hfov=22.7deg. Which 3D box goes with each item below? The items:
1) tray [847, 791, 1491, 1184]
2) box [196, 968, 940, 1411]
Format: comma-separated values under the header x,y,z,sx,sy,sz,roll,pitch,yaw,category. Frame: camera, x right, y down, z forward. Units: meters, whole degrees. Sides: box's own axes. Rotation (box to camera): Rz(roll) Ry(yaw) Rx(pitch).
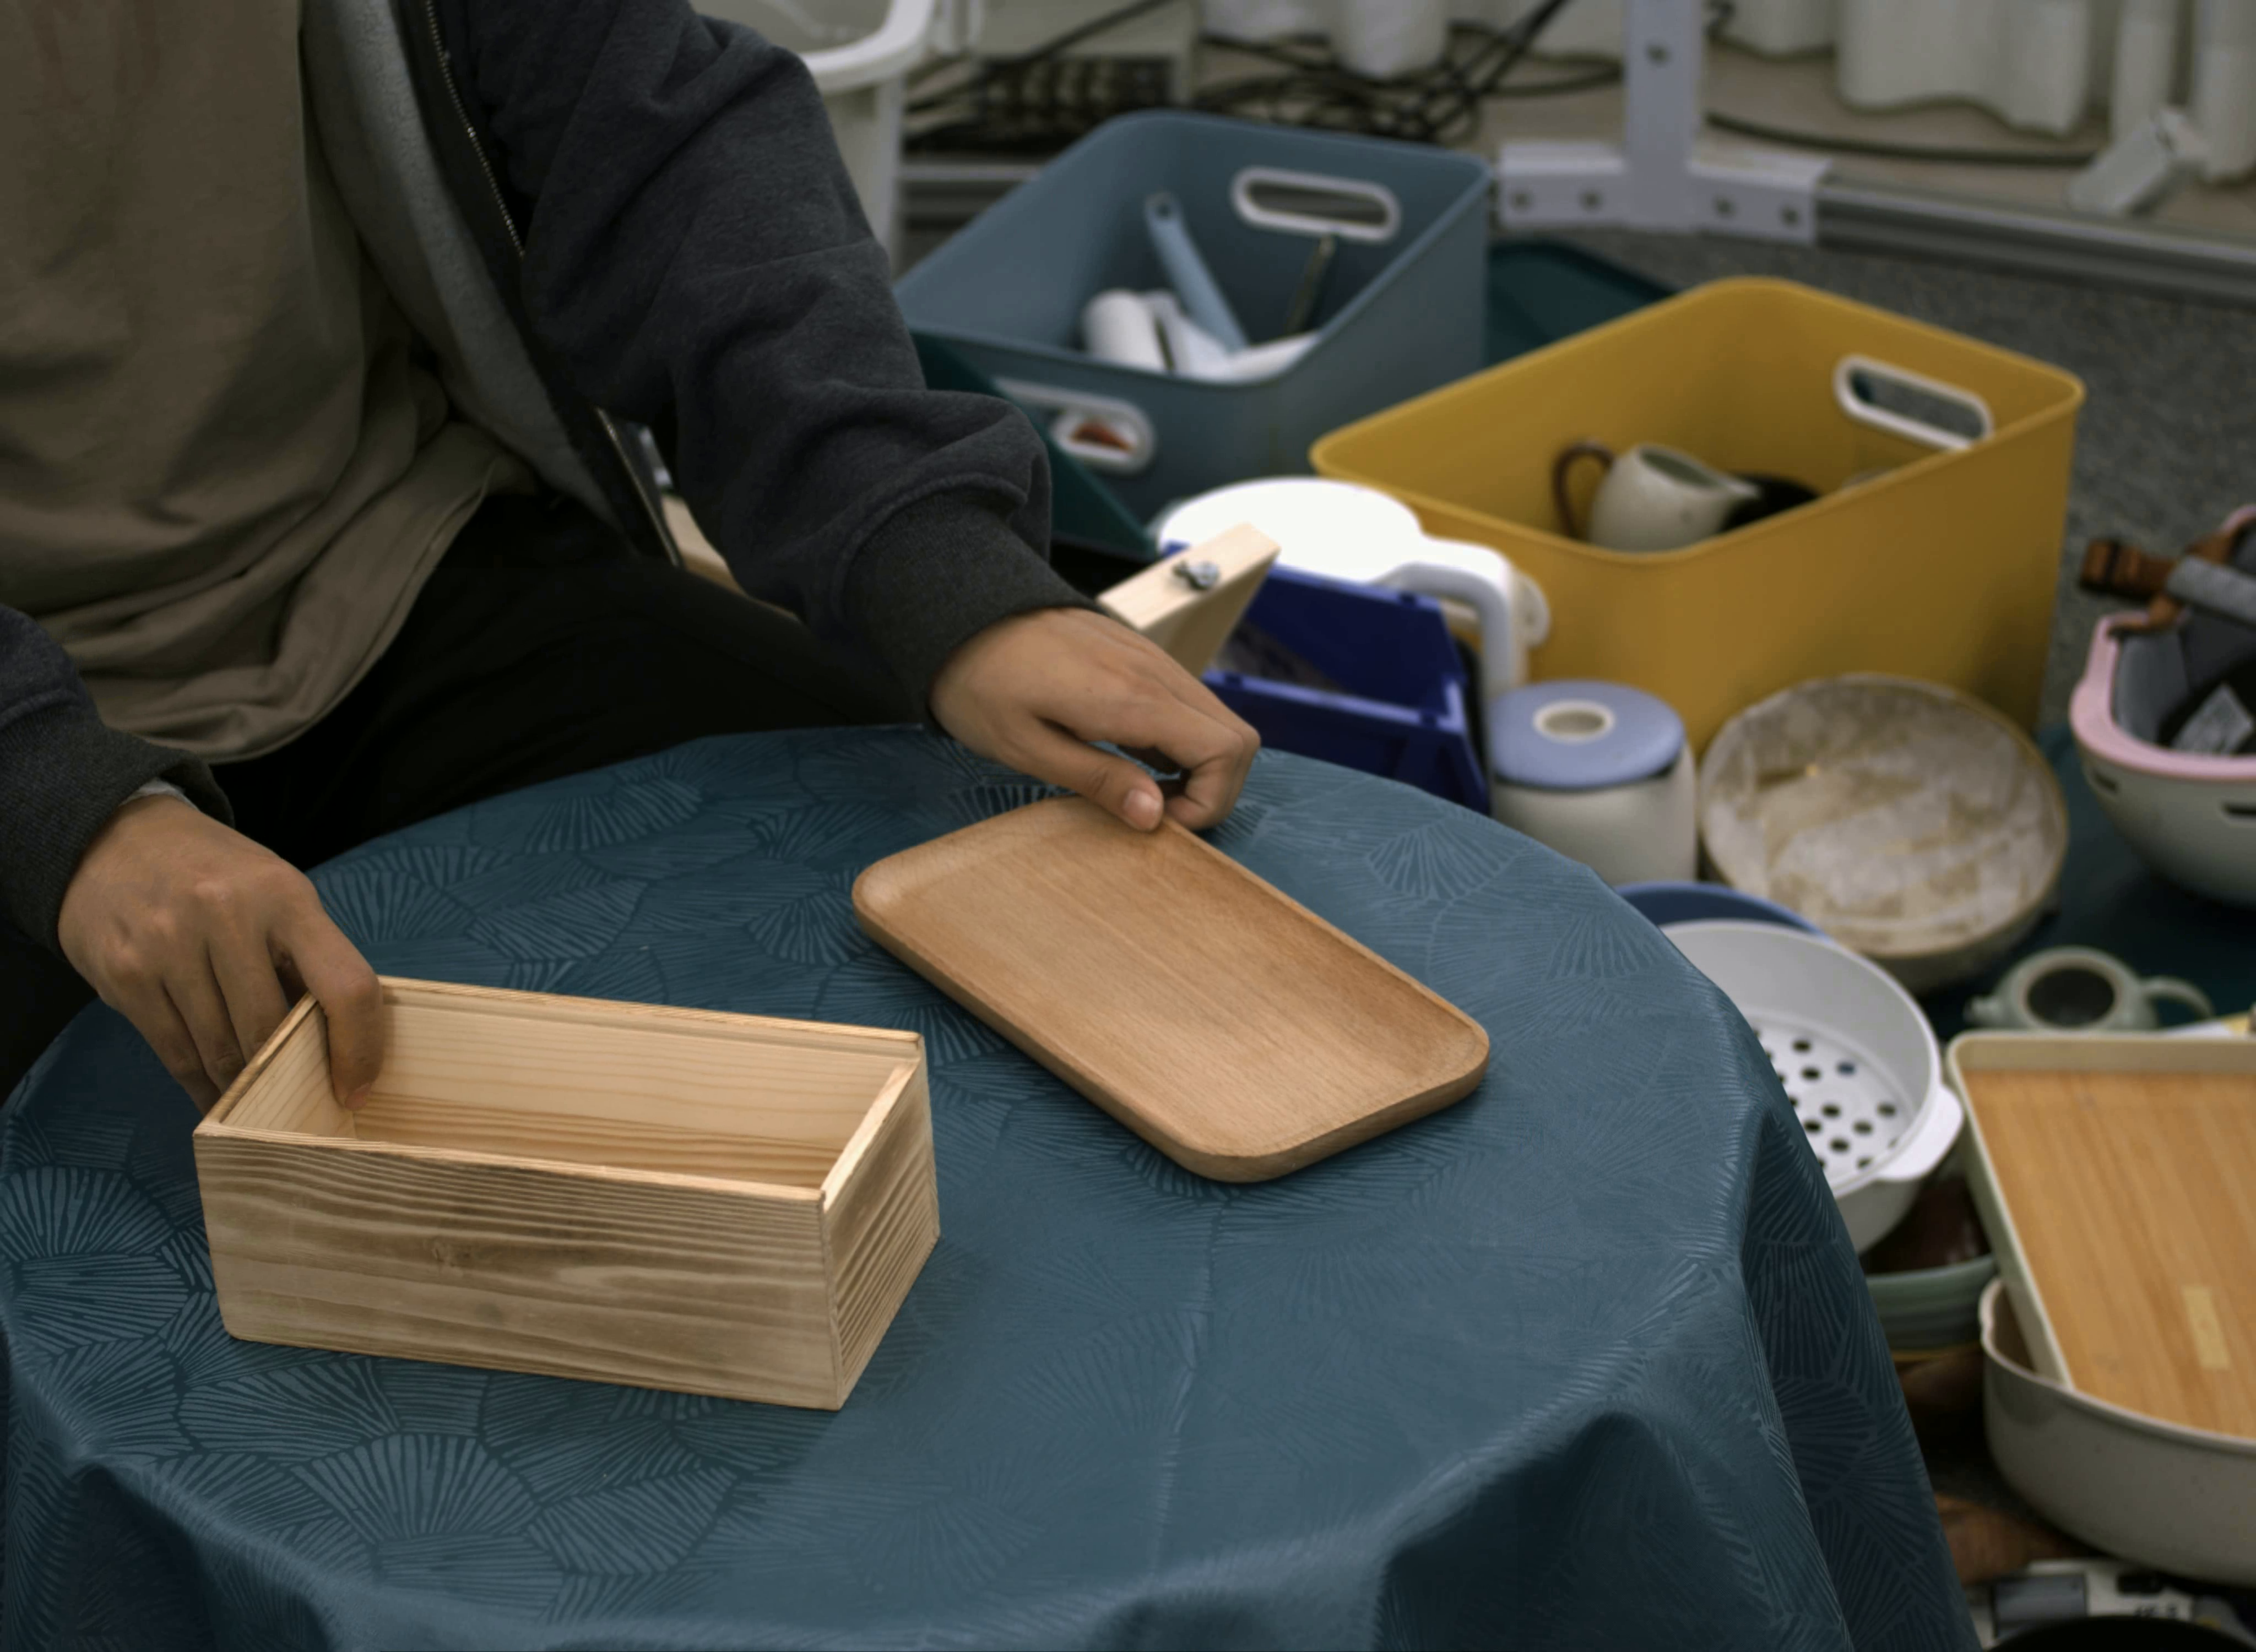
x,y,z,sx,sy,sz,roll,pitch,yaw,category
0.011,0.054,1.967,0.131,0.022,0.251,-17,31,-30,tray
-0.178,0.115,1.807,0.210,0.079,0.109,5,28,15,box
